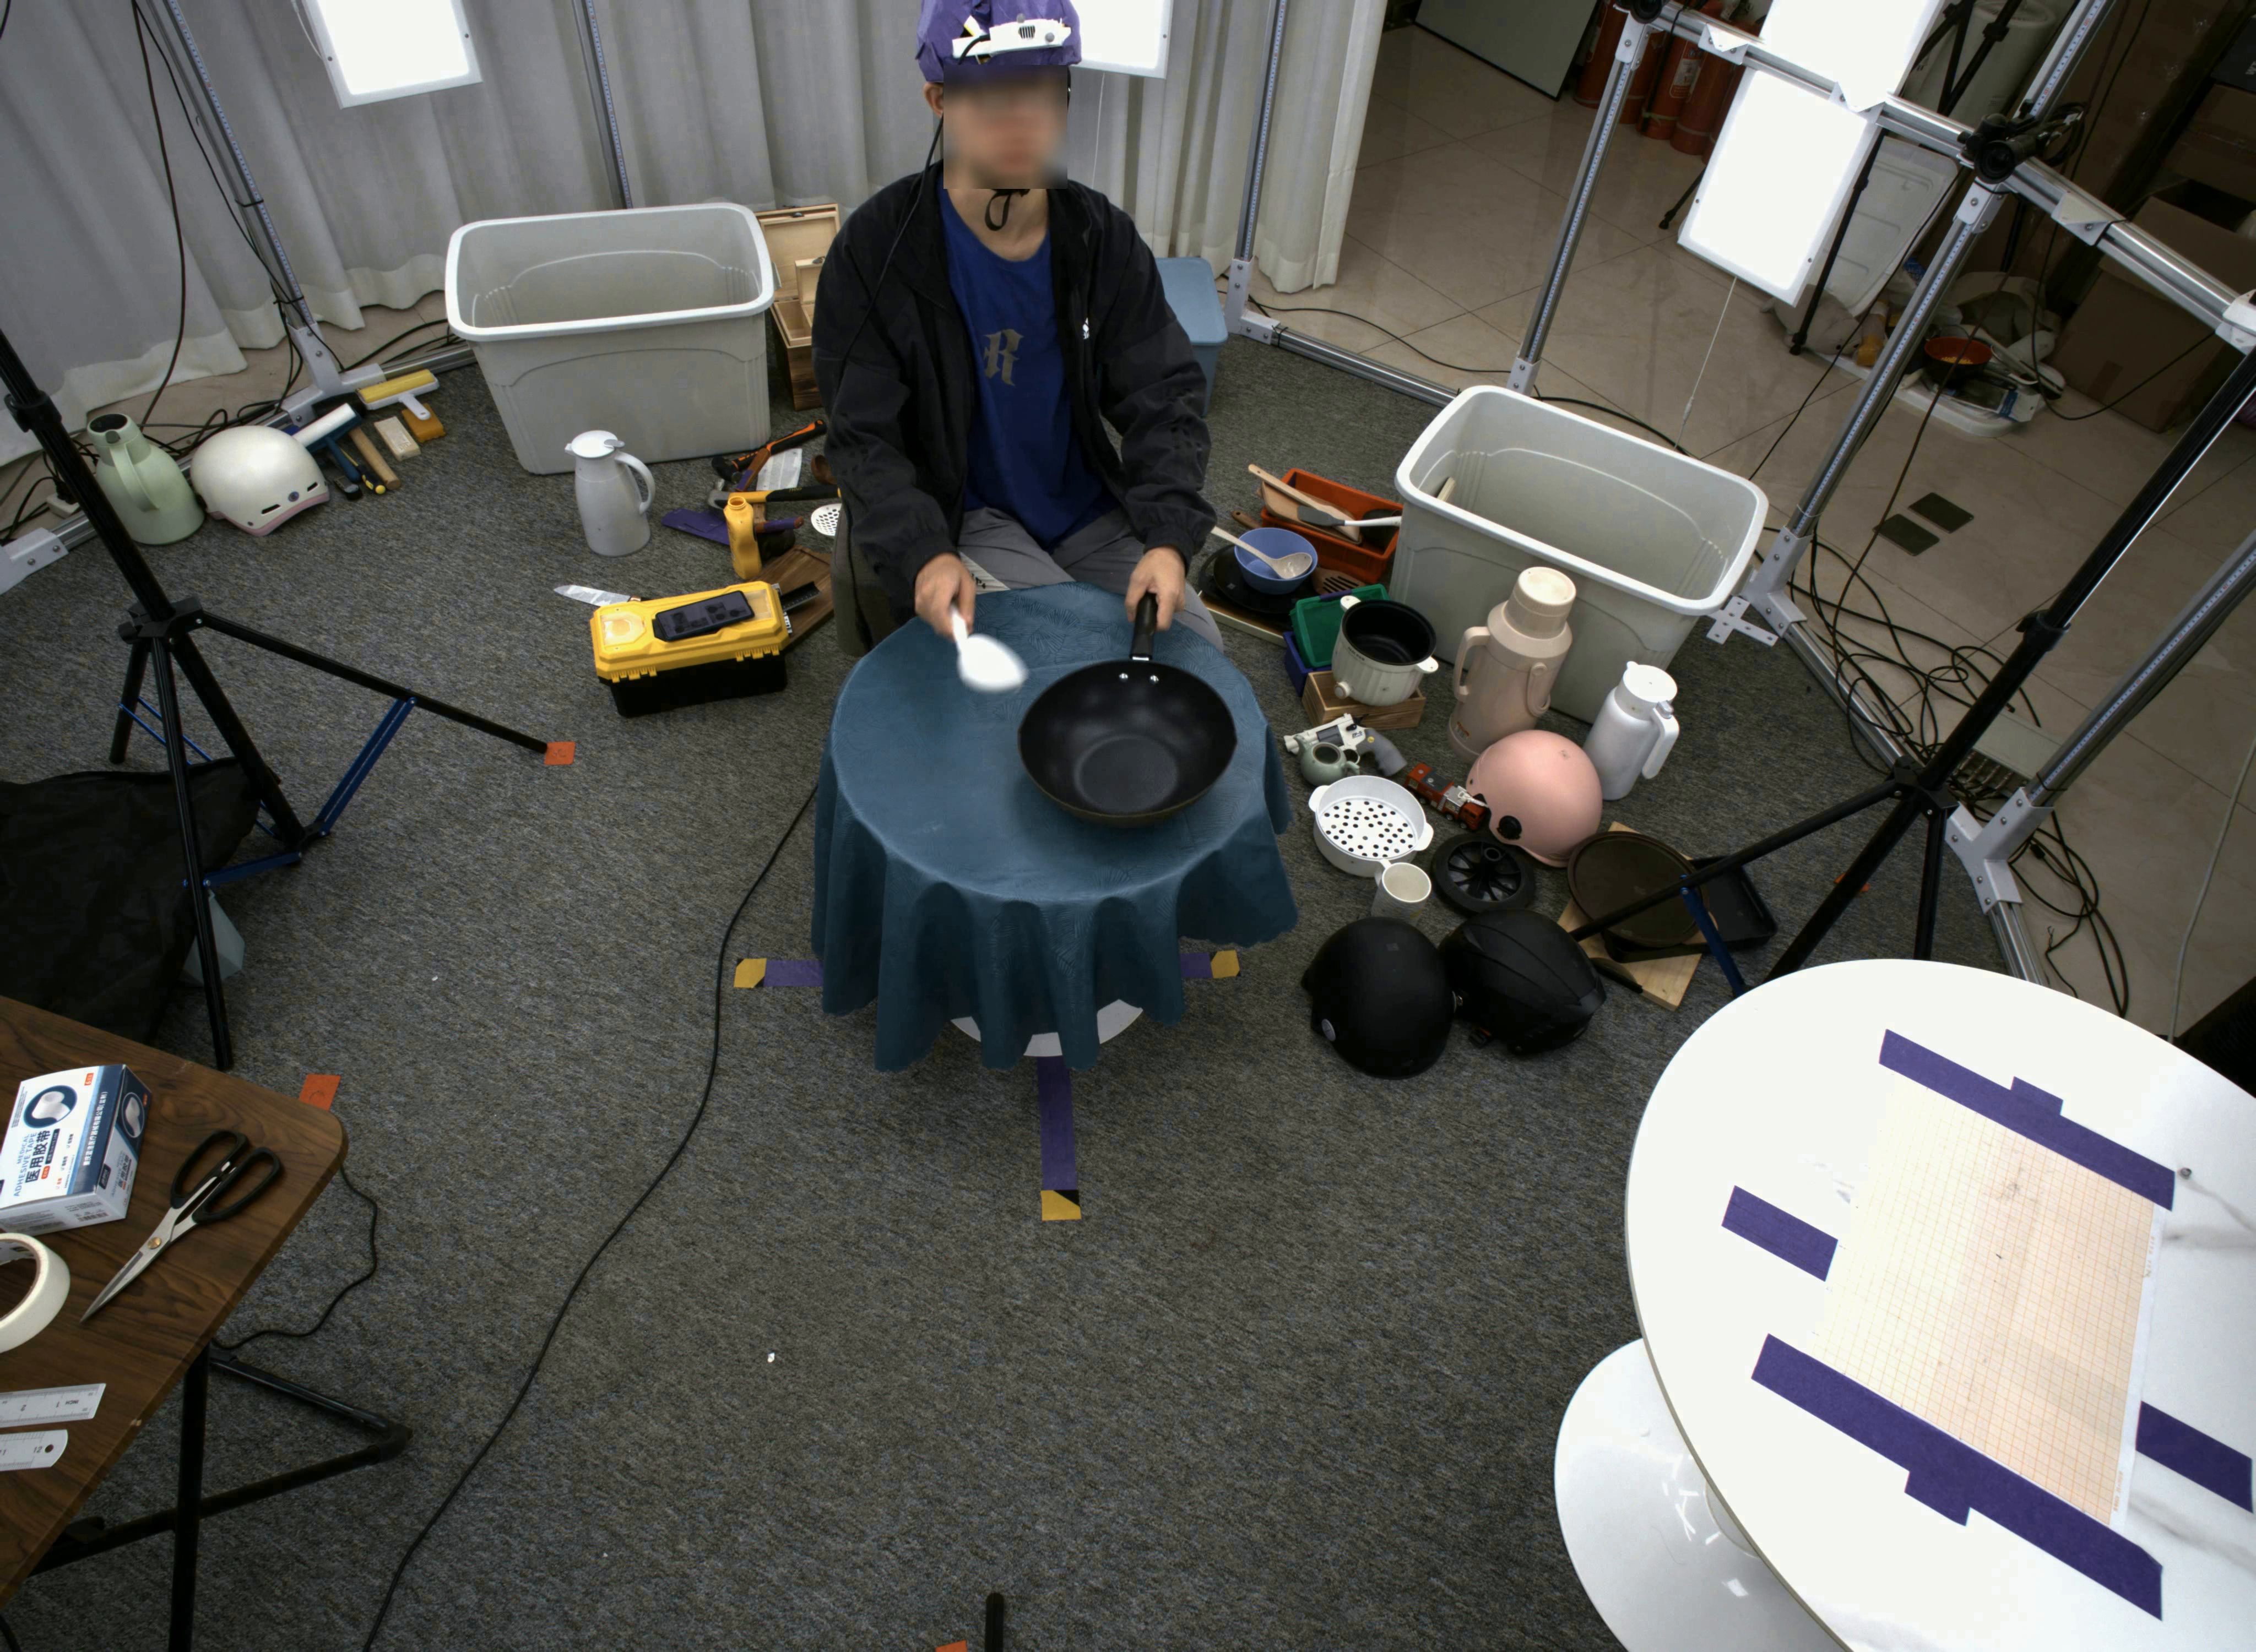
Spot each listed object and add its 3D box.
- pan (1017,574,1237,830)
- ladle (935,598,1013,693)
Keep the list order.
[{"bbox_3d":[0.011,-0.165,1.752,0.288,0.085,0.474,5,50,6],"label":"pan"},{"bbox_3d":[-0.212,-0.249,1.684,0.069,0.089,0.299,-46,29,13],"label":"ladle"}]
